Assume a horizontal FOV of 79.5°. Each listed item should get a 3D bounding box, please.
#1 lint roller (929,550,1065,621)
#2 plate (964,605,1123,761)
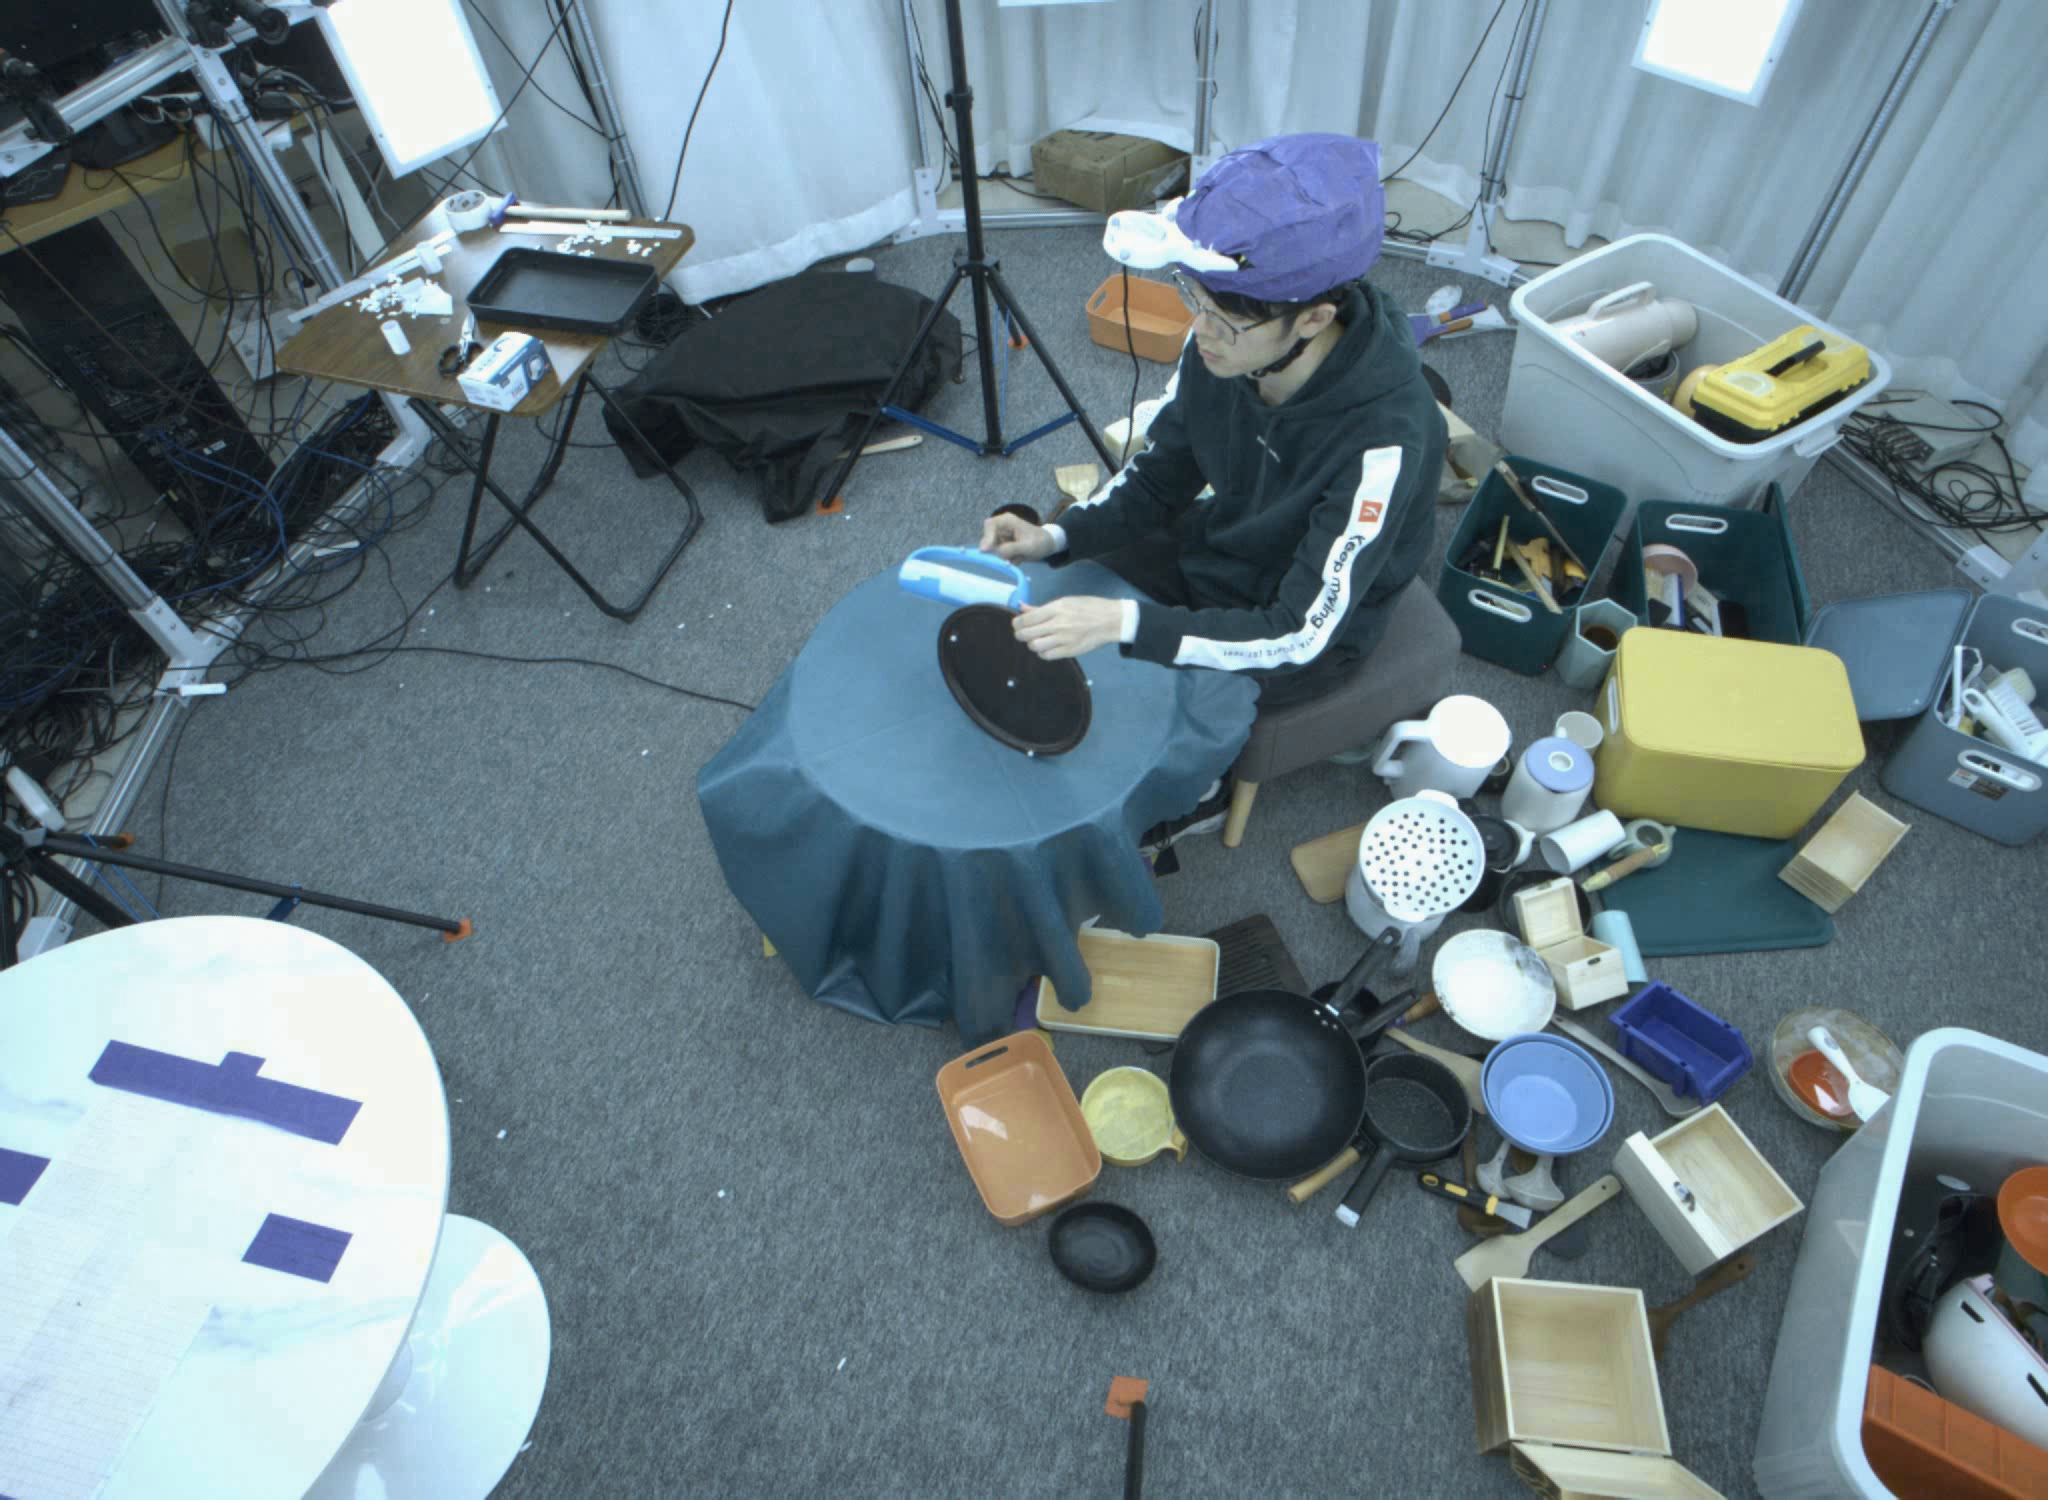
[{"bbox_3d":[-0.011,-0.255,1.784,0.224,0.069,0.181,18,45,28],"label":"lint roller"},{"bbox_3d":[0.028,-0.092,1.695,0.251,0.257,0.029,26,52,19],"label":"plate"}]
